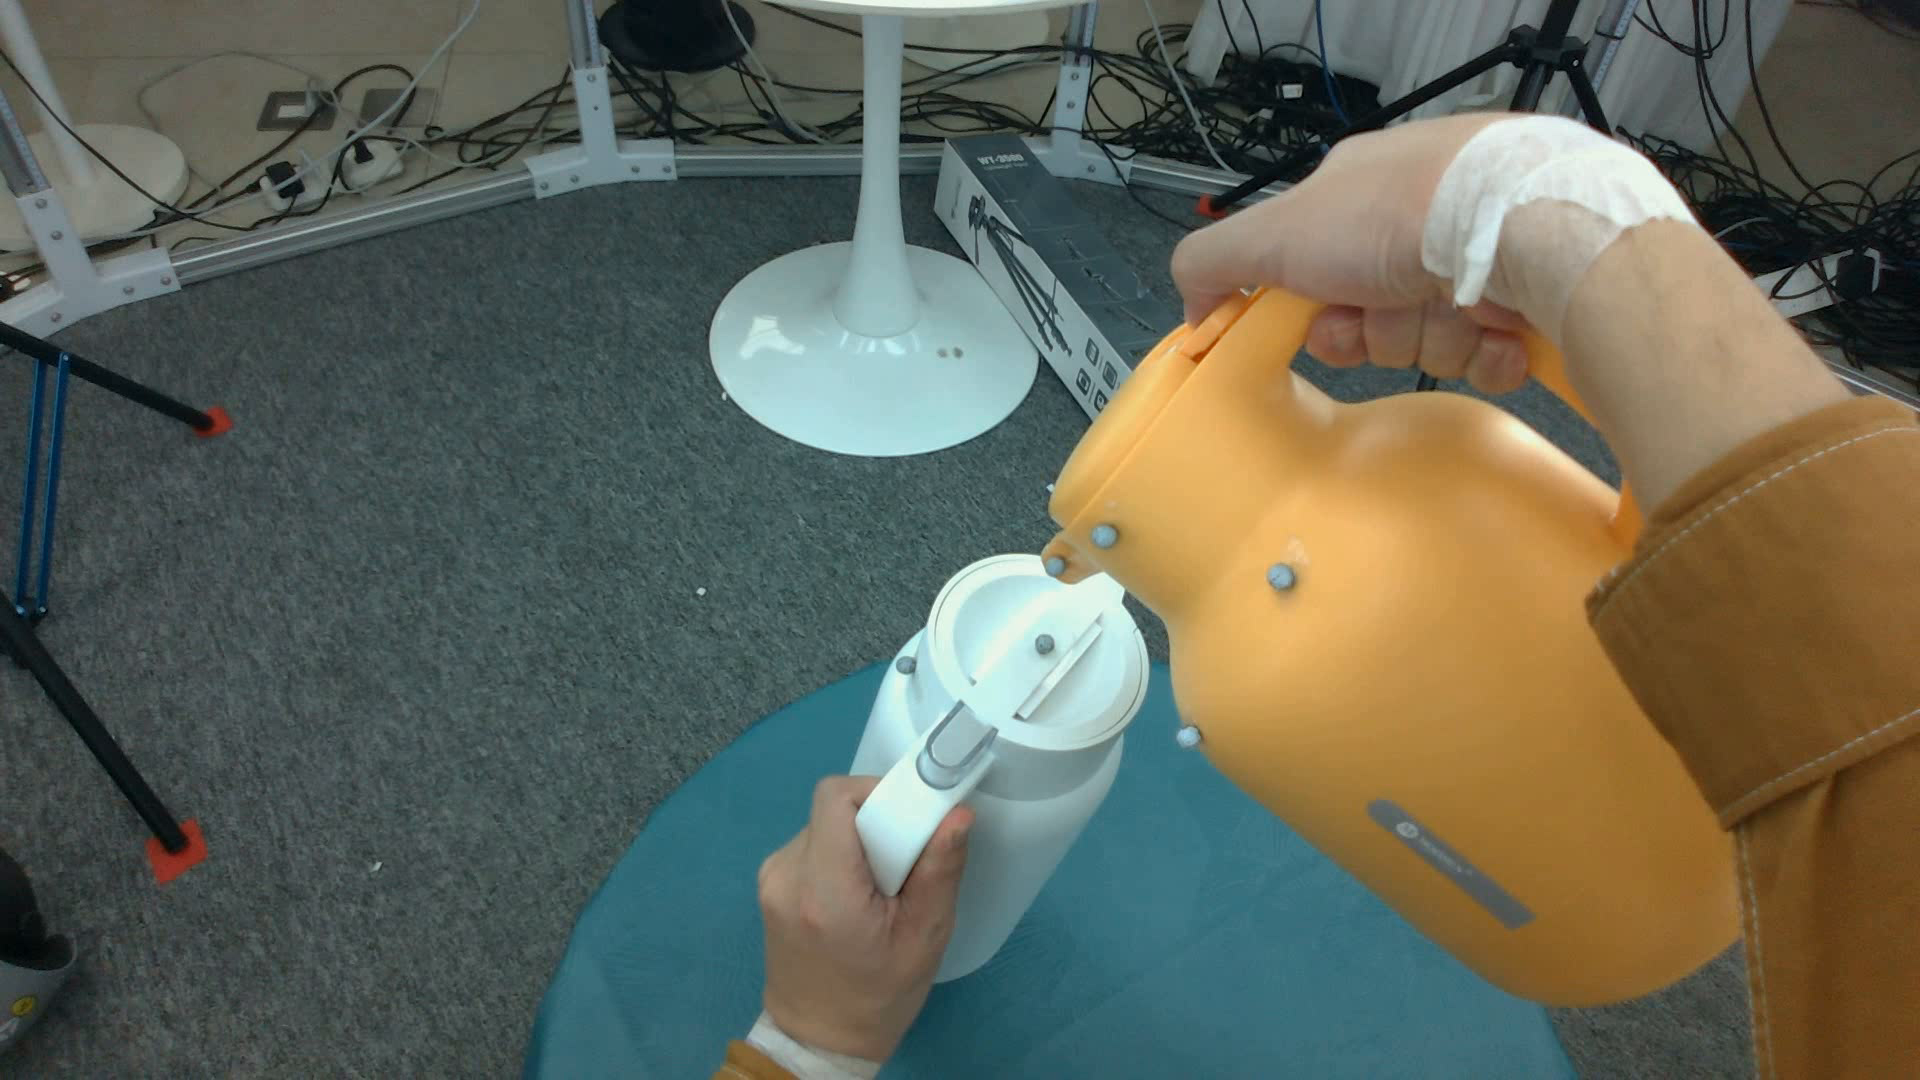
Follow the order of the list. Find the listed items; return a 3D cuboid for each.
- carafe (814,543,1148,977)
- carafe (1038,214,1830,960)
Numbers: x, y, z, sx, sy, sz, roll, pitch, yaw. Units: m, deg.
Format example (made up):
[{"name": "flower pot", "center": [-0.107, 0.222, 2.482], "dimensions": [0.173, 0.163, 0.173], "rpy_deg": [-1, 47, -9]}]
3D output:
[{"name": "carafe", "center": [-0.005, 0.128, 0.675], "dimensions": [0.124, 0.267, 0.173], "rpy_deg": [37, 53, 10]}, {"name": "carafe", "center": [0.162, 0.011, 0.479], "dimensions": [0.260, 0.201, 0.164], "rpy_deg": [33, 46, -1]}]
